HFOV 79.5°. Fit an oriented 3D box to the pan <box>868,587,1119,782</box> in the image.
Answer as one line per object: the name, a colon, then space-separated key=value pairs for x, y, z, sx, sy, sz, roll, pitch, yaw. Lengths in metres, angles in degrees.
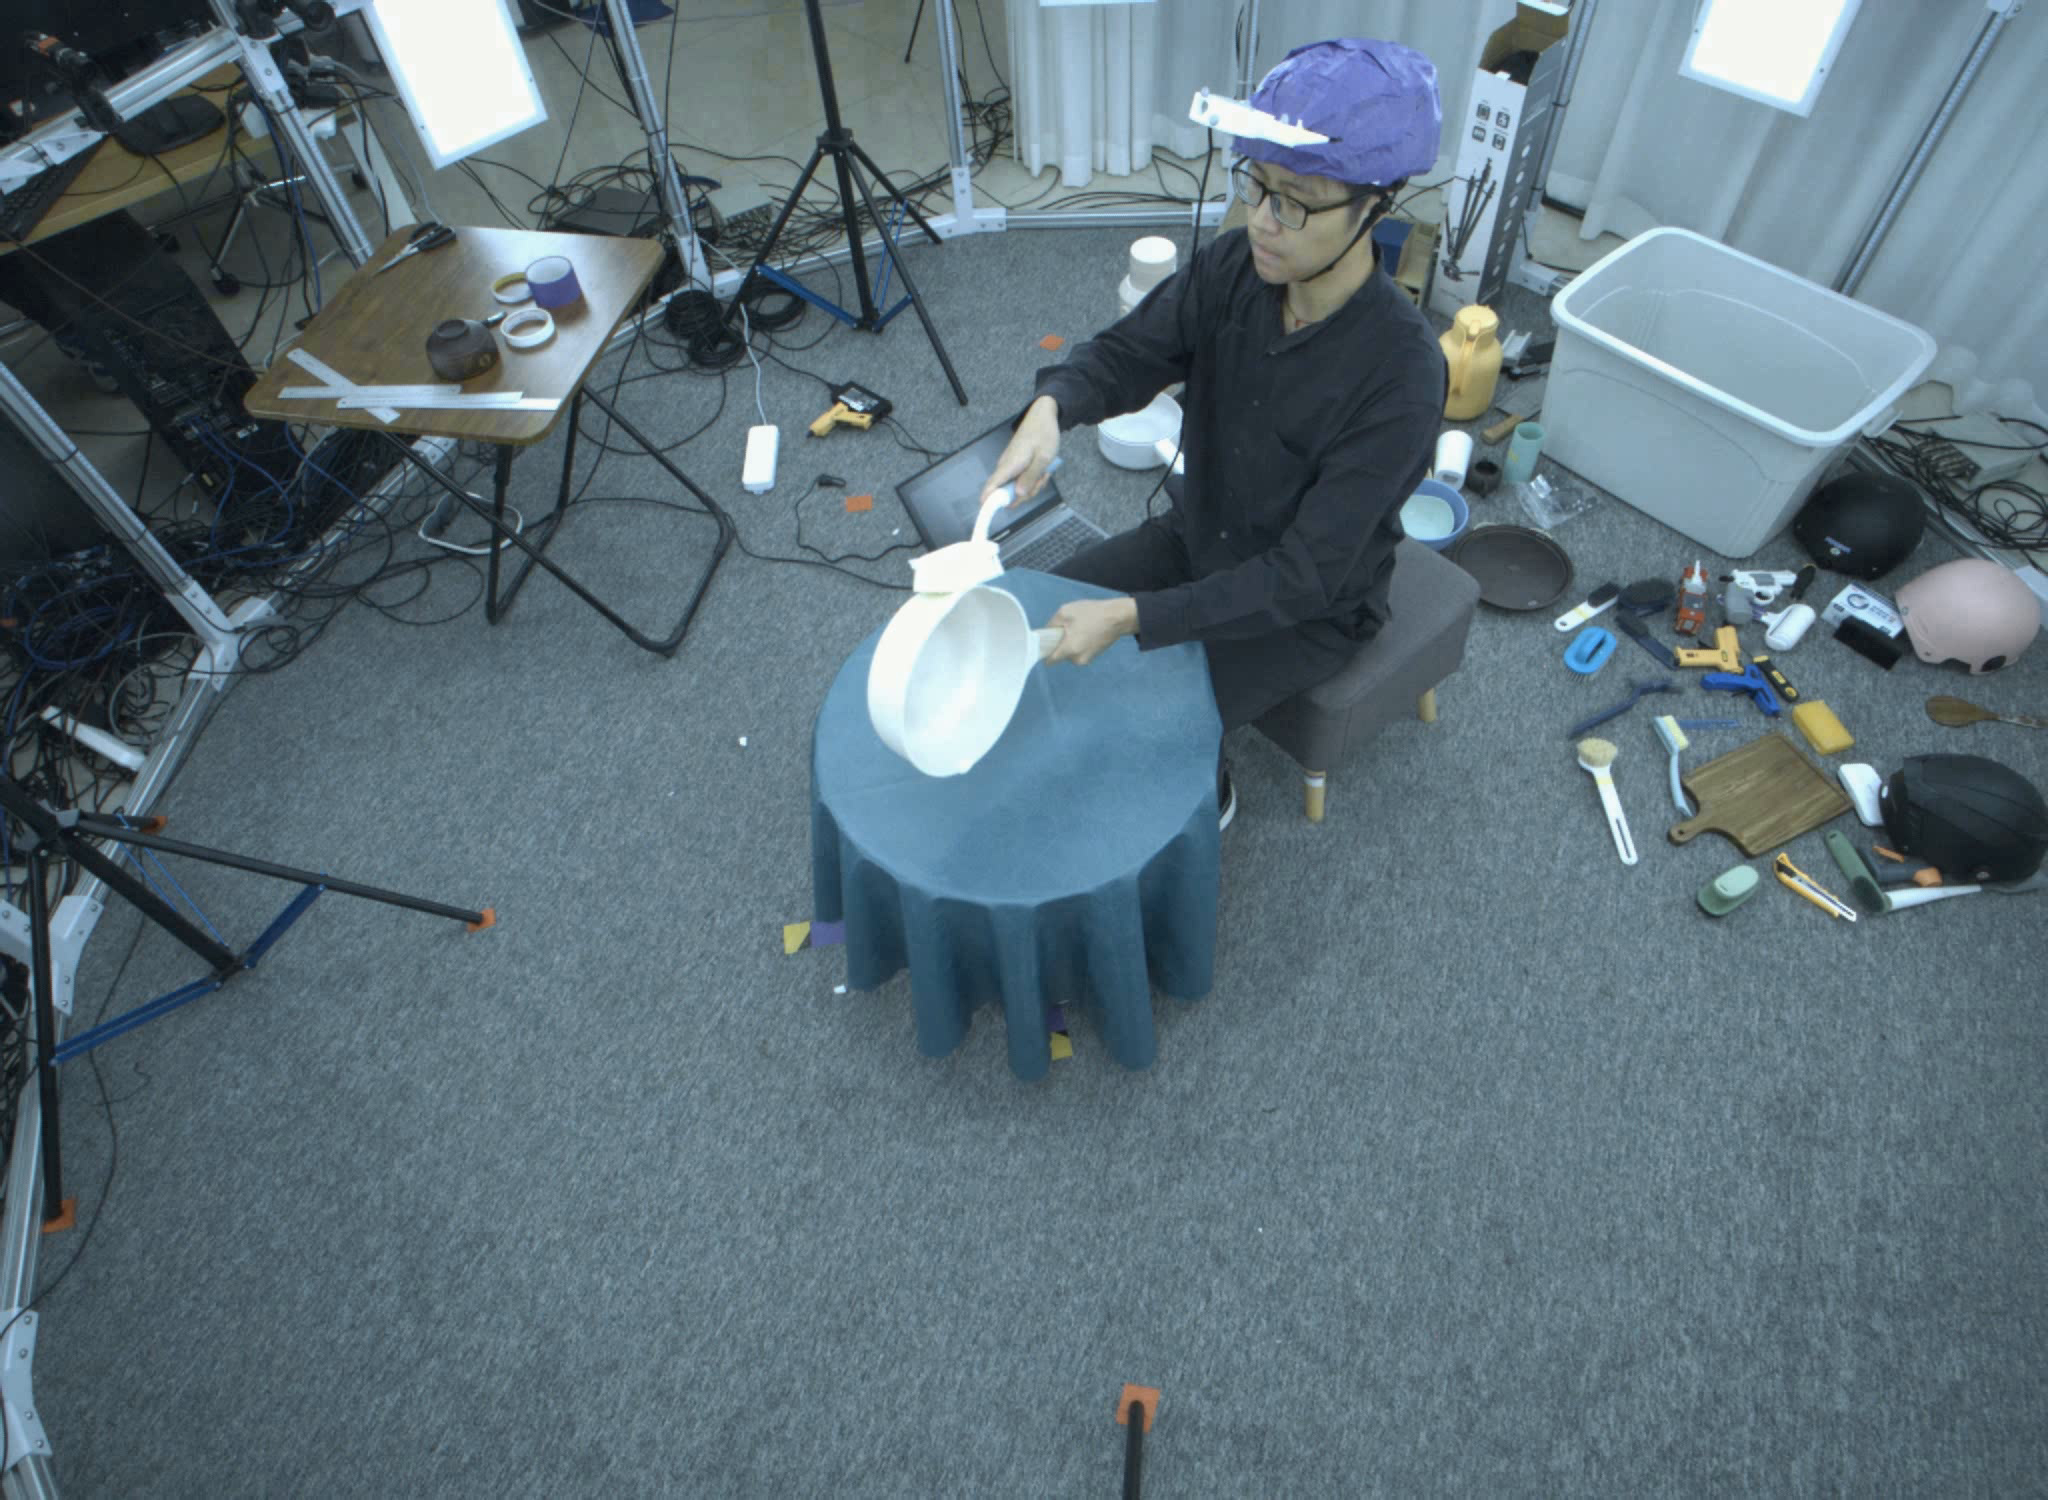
pan: x=-0.038 y=-0.124 z=1.621 sx=0.100 sy=0.265 sz=0.440 roll=22 pitch=36 yaw=31

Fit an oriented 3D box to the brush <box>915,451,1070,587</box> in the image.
brush: x=-0.025 y=-0.280 z=1.563 sx=0.082 sy=0.084 sz=0.328 roll=39 pitch=50 yaw=8
